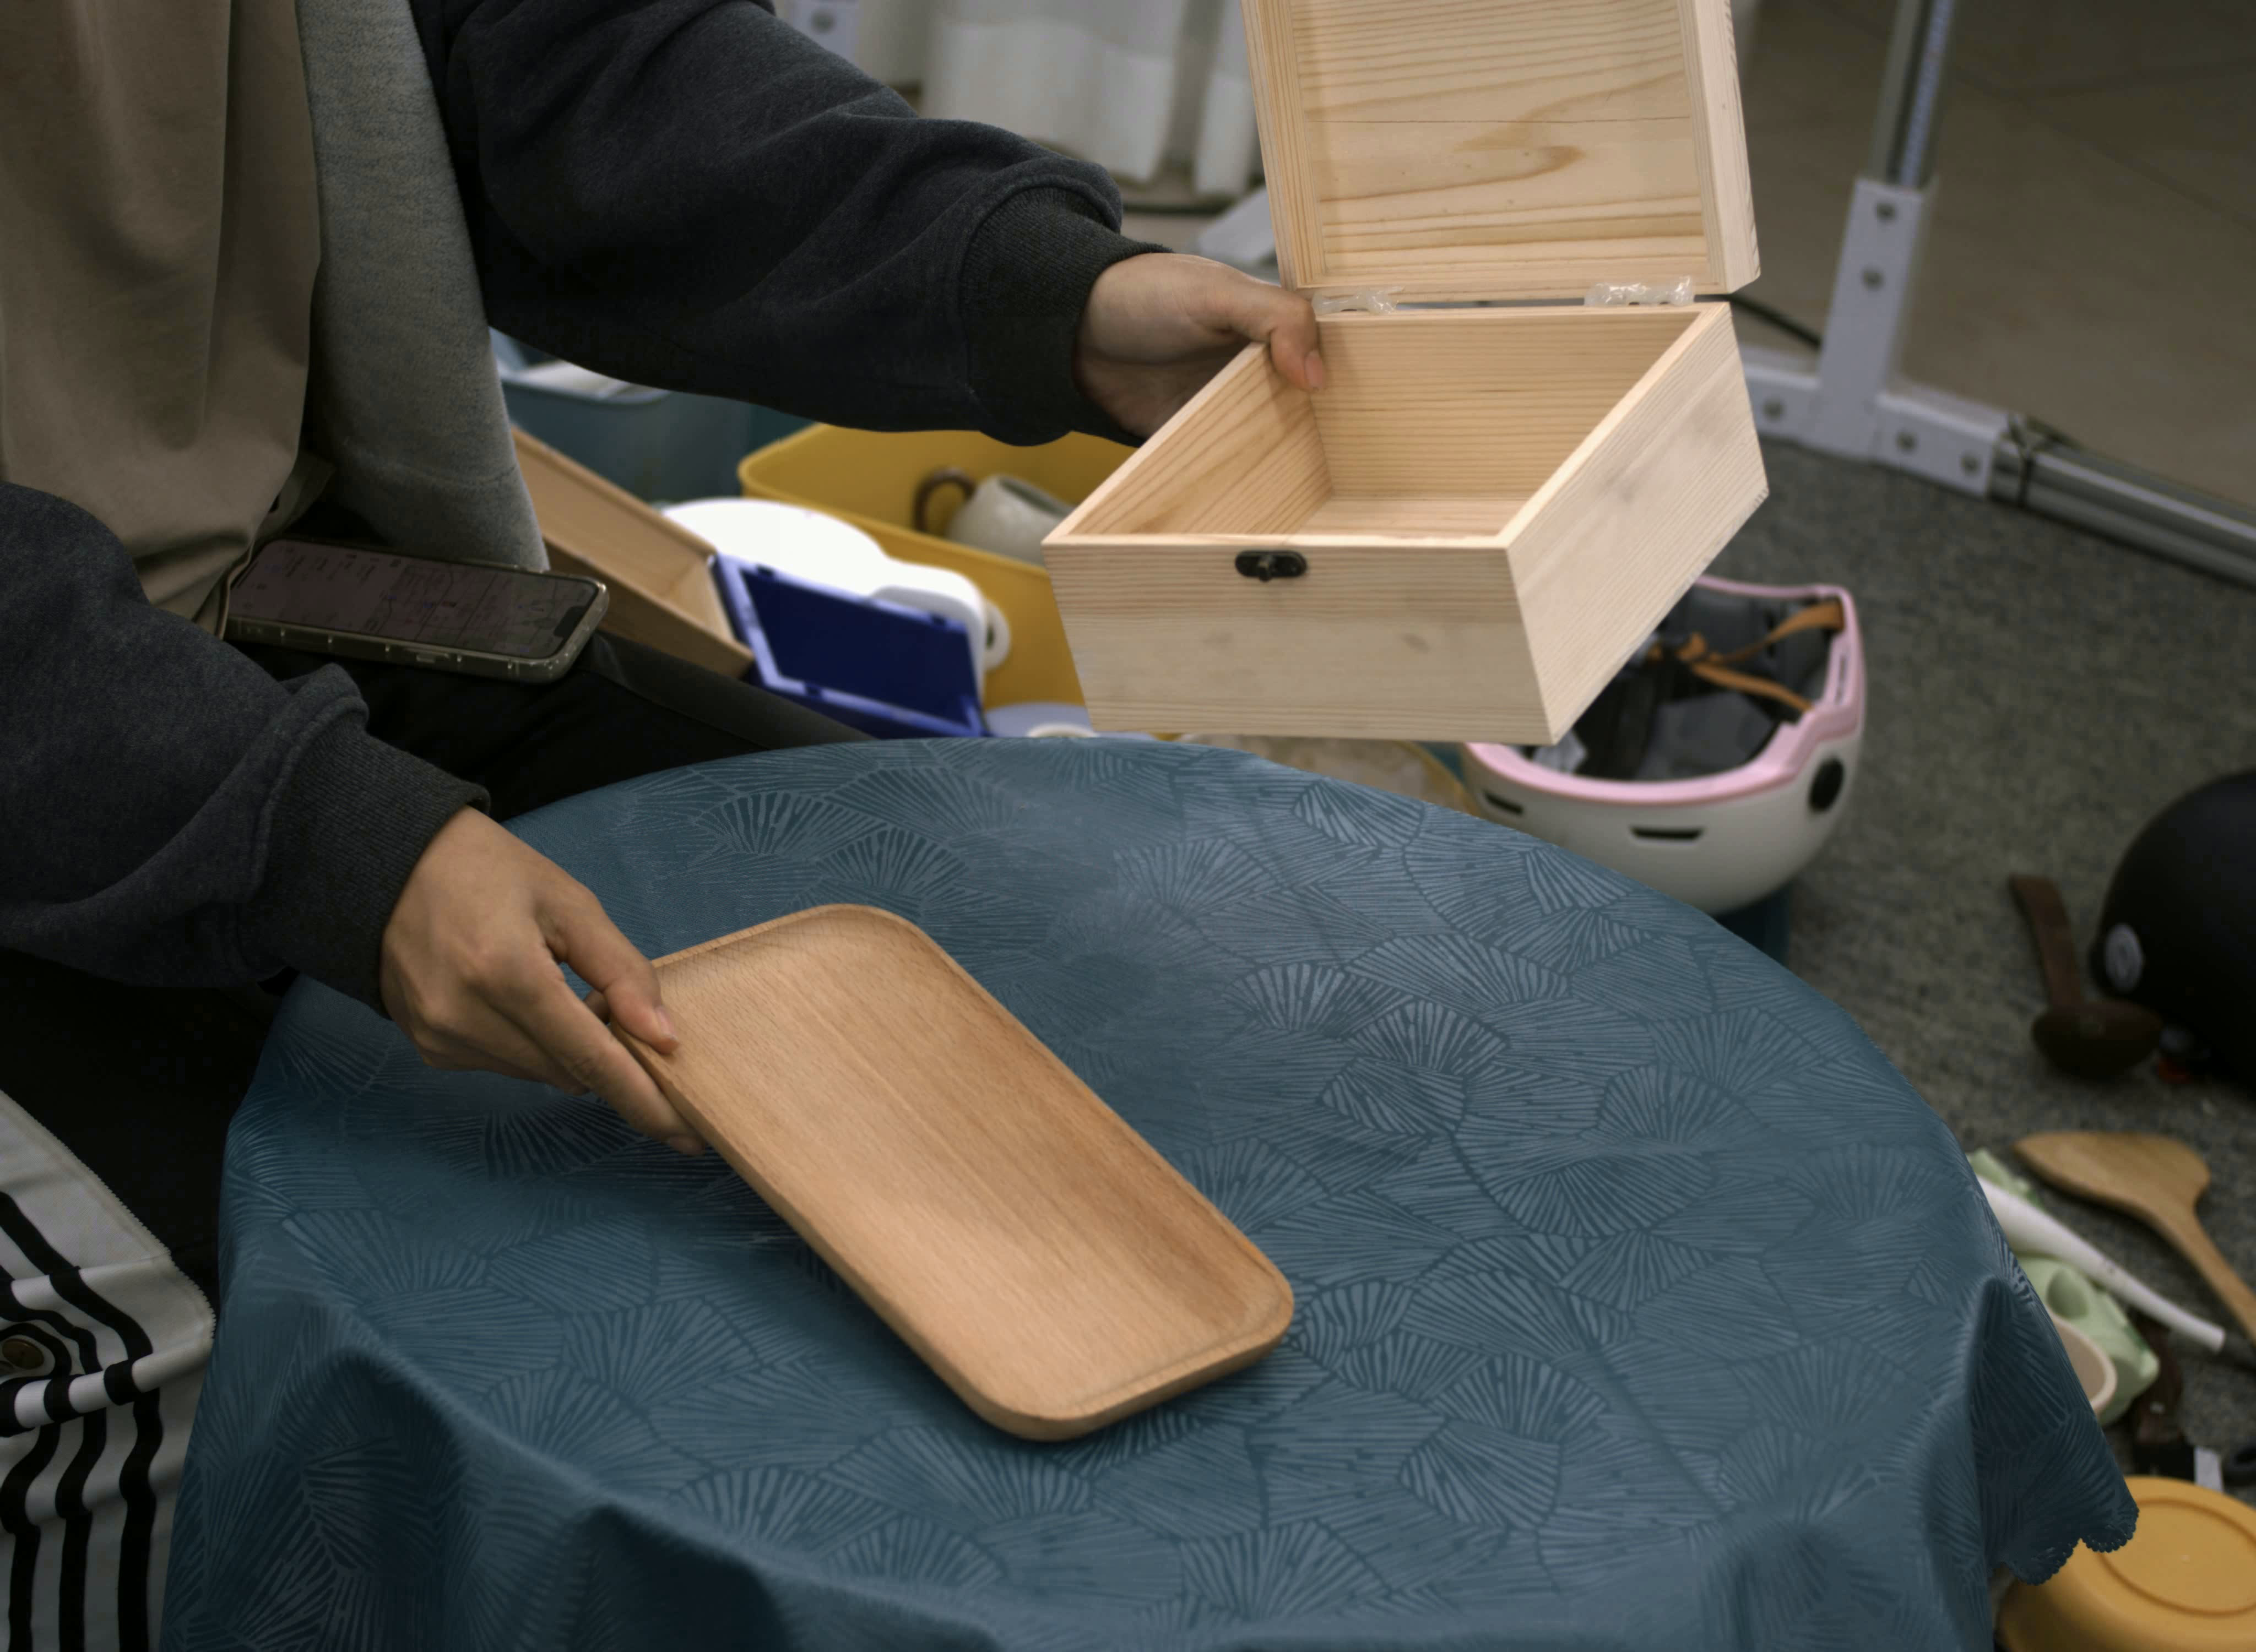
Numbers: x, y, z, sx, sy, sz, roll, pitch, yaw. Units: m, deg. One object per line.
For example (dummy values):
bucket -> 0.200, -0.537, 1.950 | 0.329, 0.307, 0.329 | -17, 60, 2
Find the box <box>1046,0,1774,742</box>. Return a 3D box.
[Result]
box -> 0.091, -0.198, 1.823 | 0.182, 0.252, 0.265 | -2, 28, 34

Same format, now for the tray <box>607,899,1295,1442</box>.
tray -> -0.061, 0.110, 1.749 | 0.130, 0.023, 0.253 | -16, 43, -36
